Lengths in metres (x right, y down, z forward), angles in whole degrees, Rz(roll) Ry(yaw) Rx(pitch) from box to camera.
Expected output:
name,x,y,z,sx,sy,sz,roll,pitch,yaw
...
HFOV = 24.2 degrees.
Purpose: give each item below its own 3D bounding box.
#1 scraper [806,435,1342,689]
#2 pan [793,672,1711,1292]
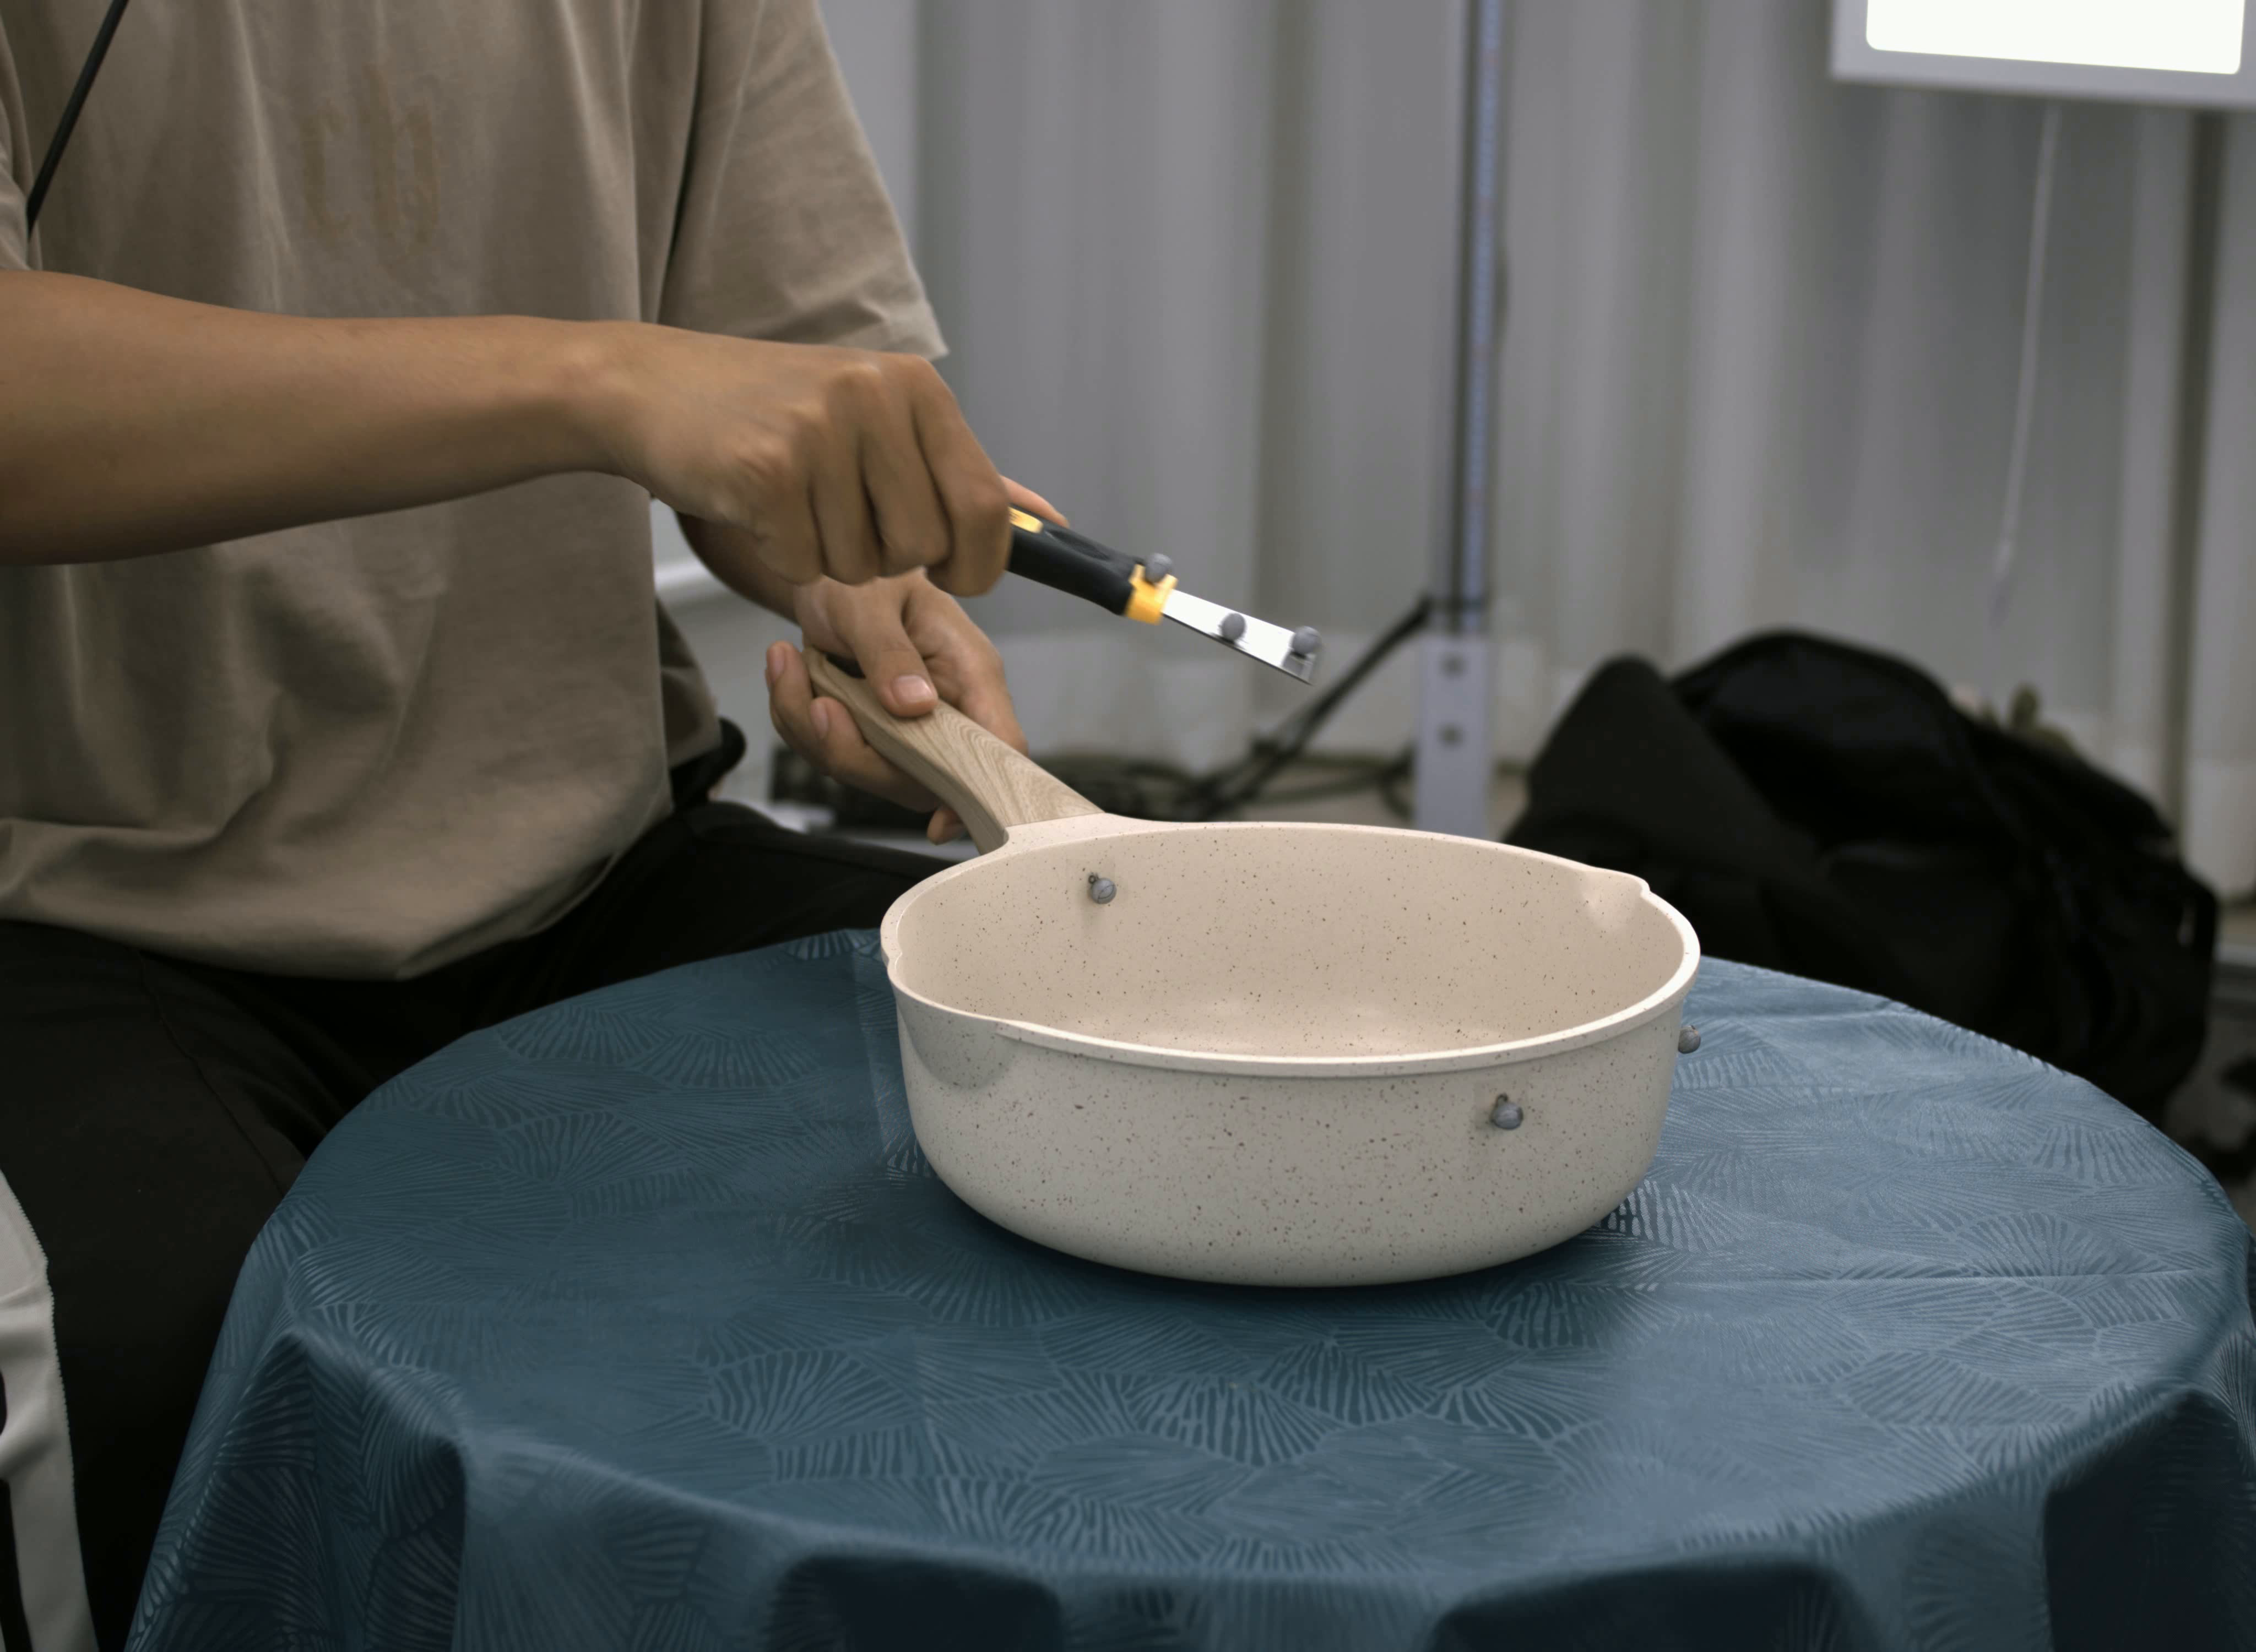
name,x,y,z,sx,sy,sz,roll,pitch,yaw
scraper,-0.017,-0.080,1.587,0.171,0.015,0.038,22,32,-4
pan,0.007,0.044,1.698,0.264,0.103,0.429,-12,20,-29
